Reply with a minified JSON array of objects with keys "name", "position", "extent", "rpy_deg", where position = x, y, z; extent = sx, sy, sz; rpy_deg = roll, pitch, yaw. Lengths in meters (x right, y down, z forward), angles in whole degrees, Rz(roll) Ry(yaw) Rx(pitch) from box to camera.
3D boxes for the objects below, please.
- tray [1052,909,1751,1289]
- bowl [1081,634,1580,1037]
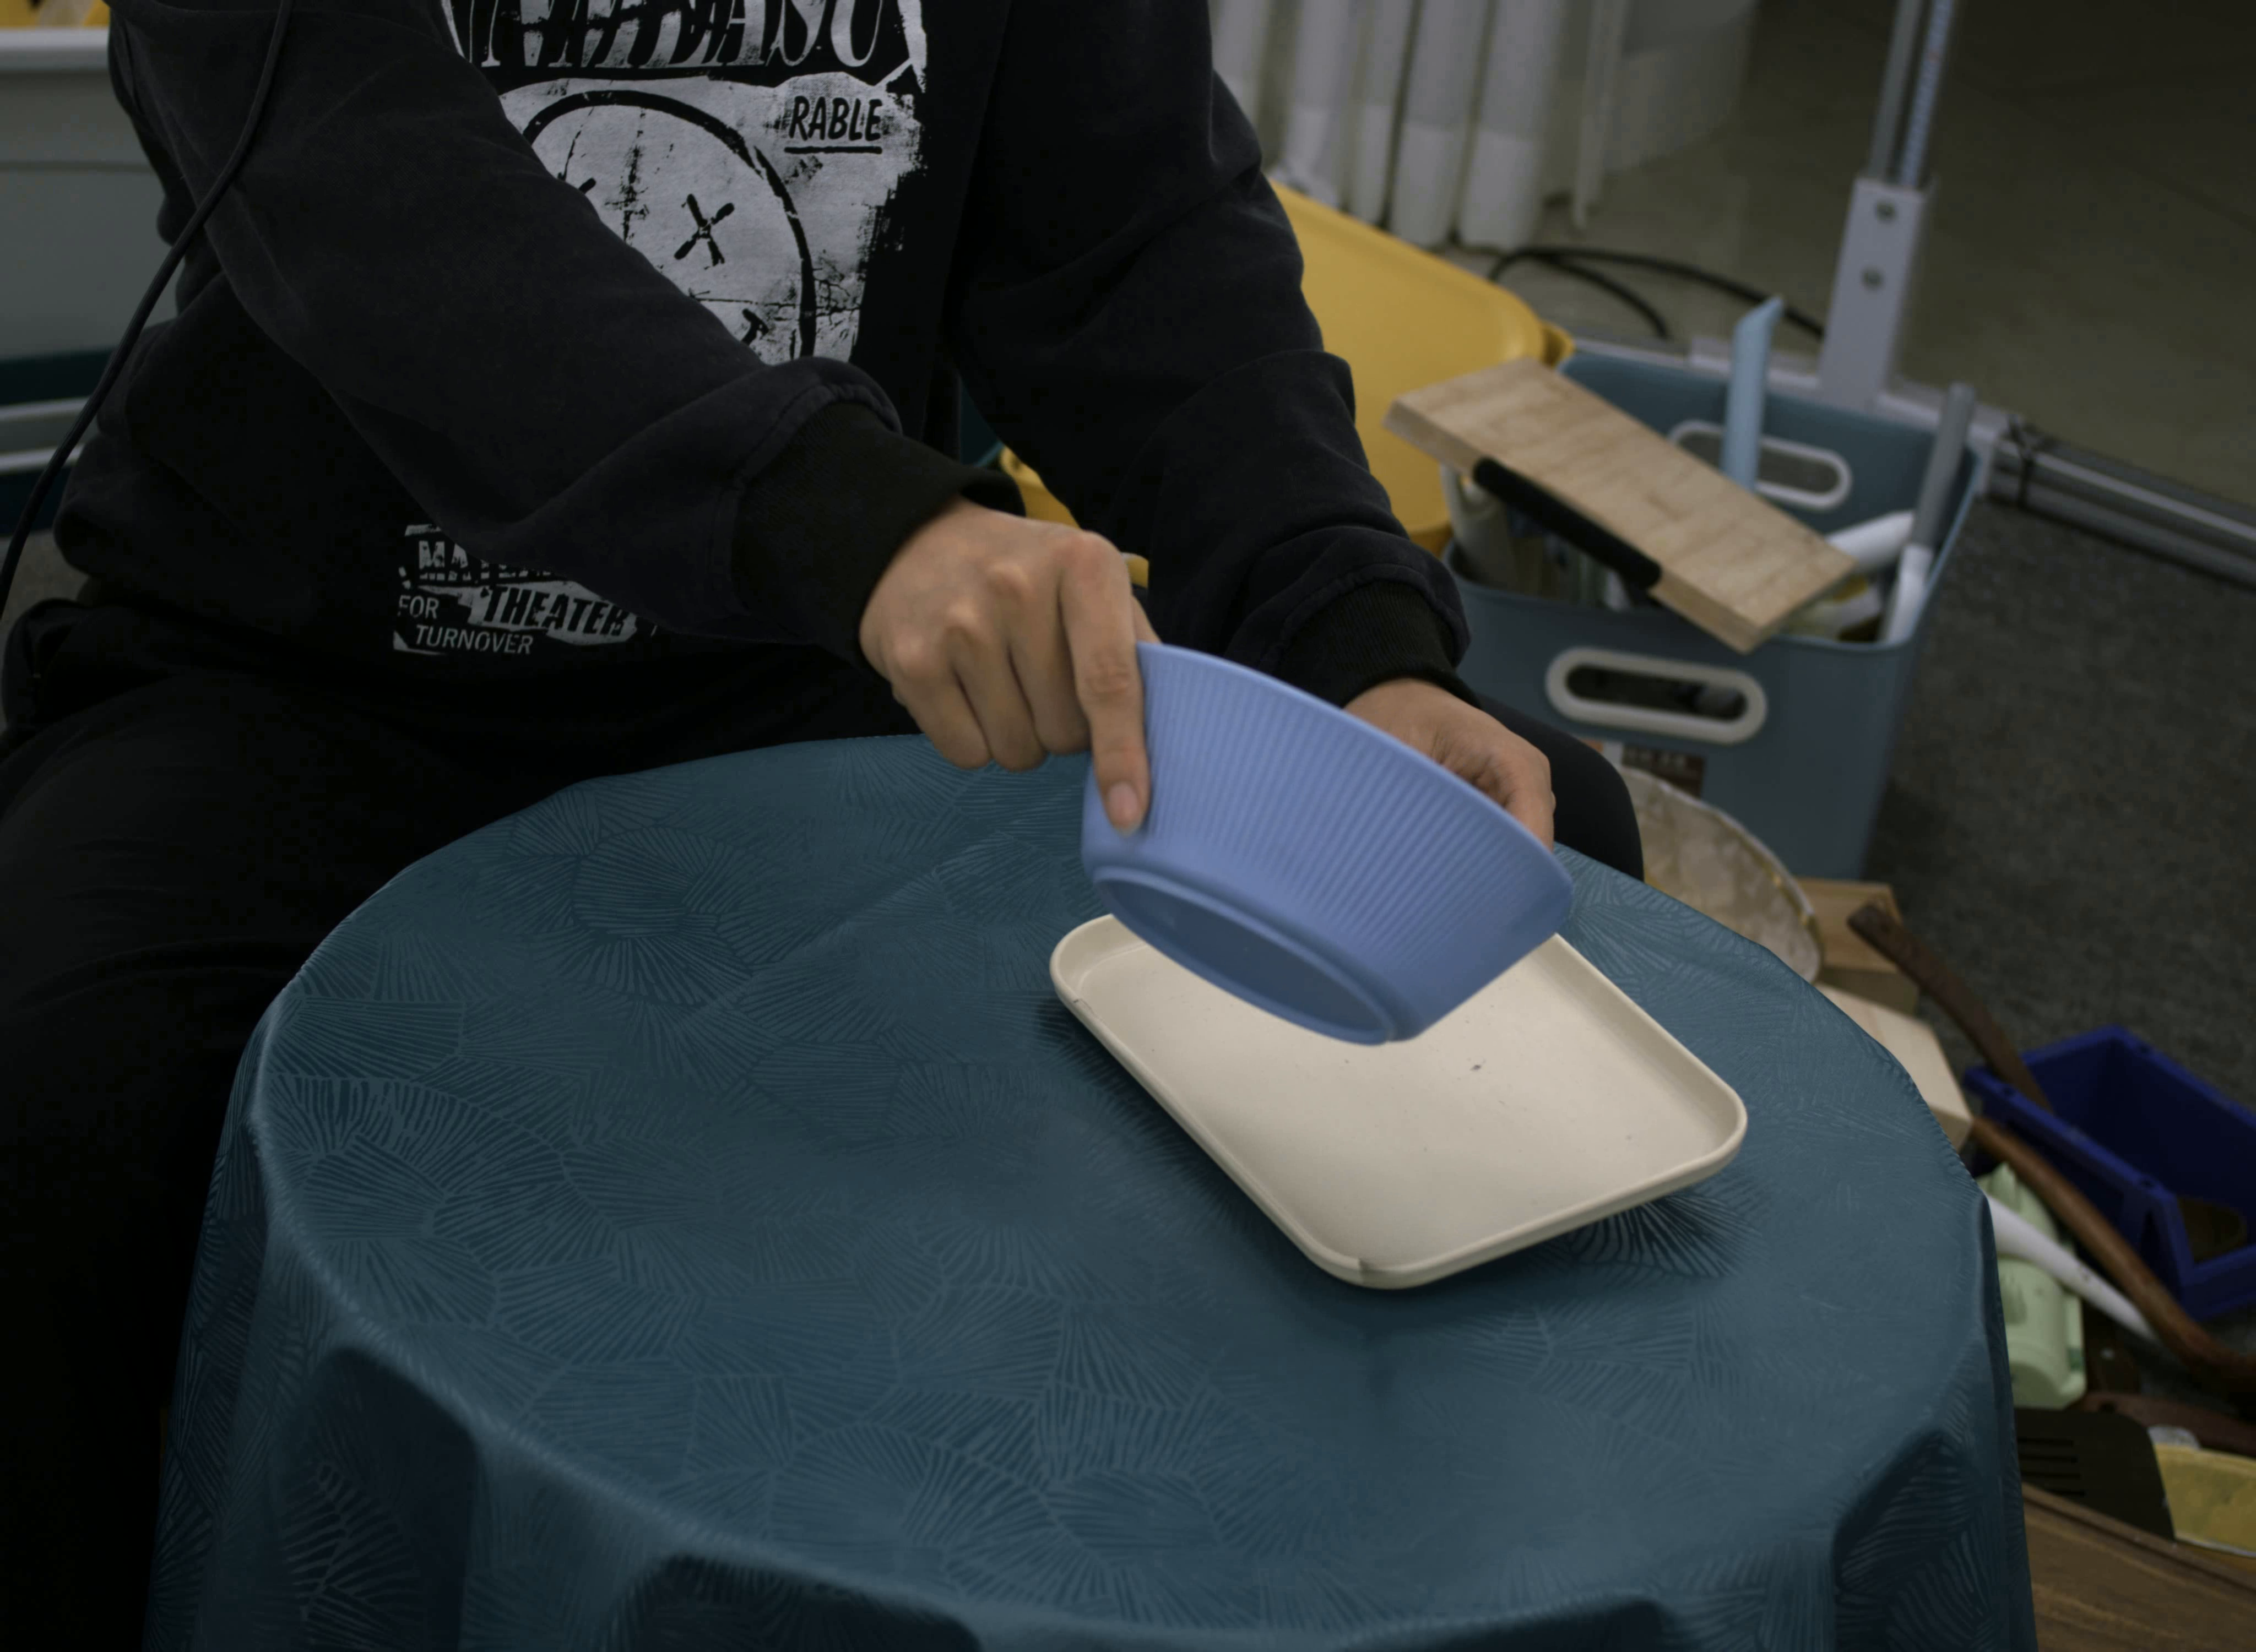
[{"name":"tray","position":[0.093,0.080,1.859],"extent":[0.170,0.017,0.242],"rpy_deg":[-17,35,-23]},{"name":"bowl","position":[0.051,0.011,1.697],"extent":[0.176,0.070,0.175],"rpy_deg":[27,-13,7]}]
